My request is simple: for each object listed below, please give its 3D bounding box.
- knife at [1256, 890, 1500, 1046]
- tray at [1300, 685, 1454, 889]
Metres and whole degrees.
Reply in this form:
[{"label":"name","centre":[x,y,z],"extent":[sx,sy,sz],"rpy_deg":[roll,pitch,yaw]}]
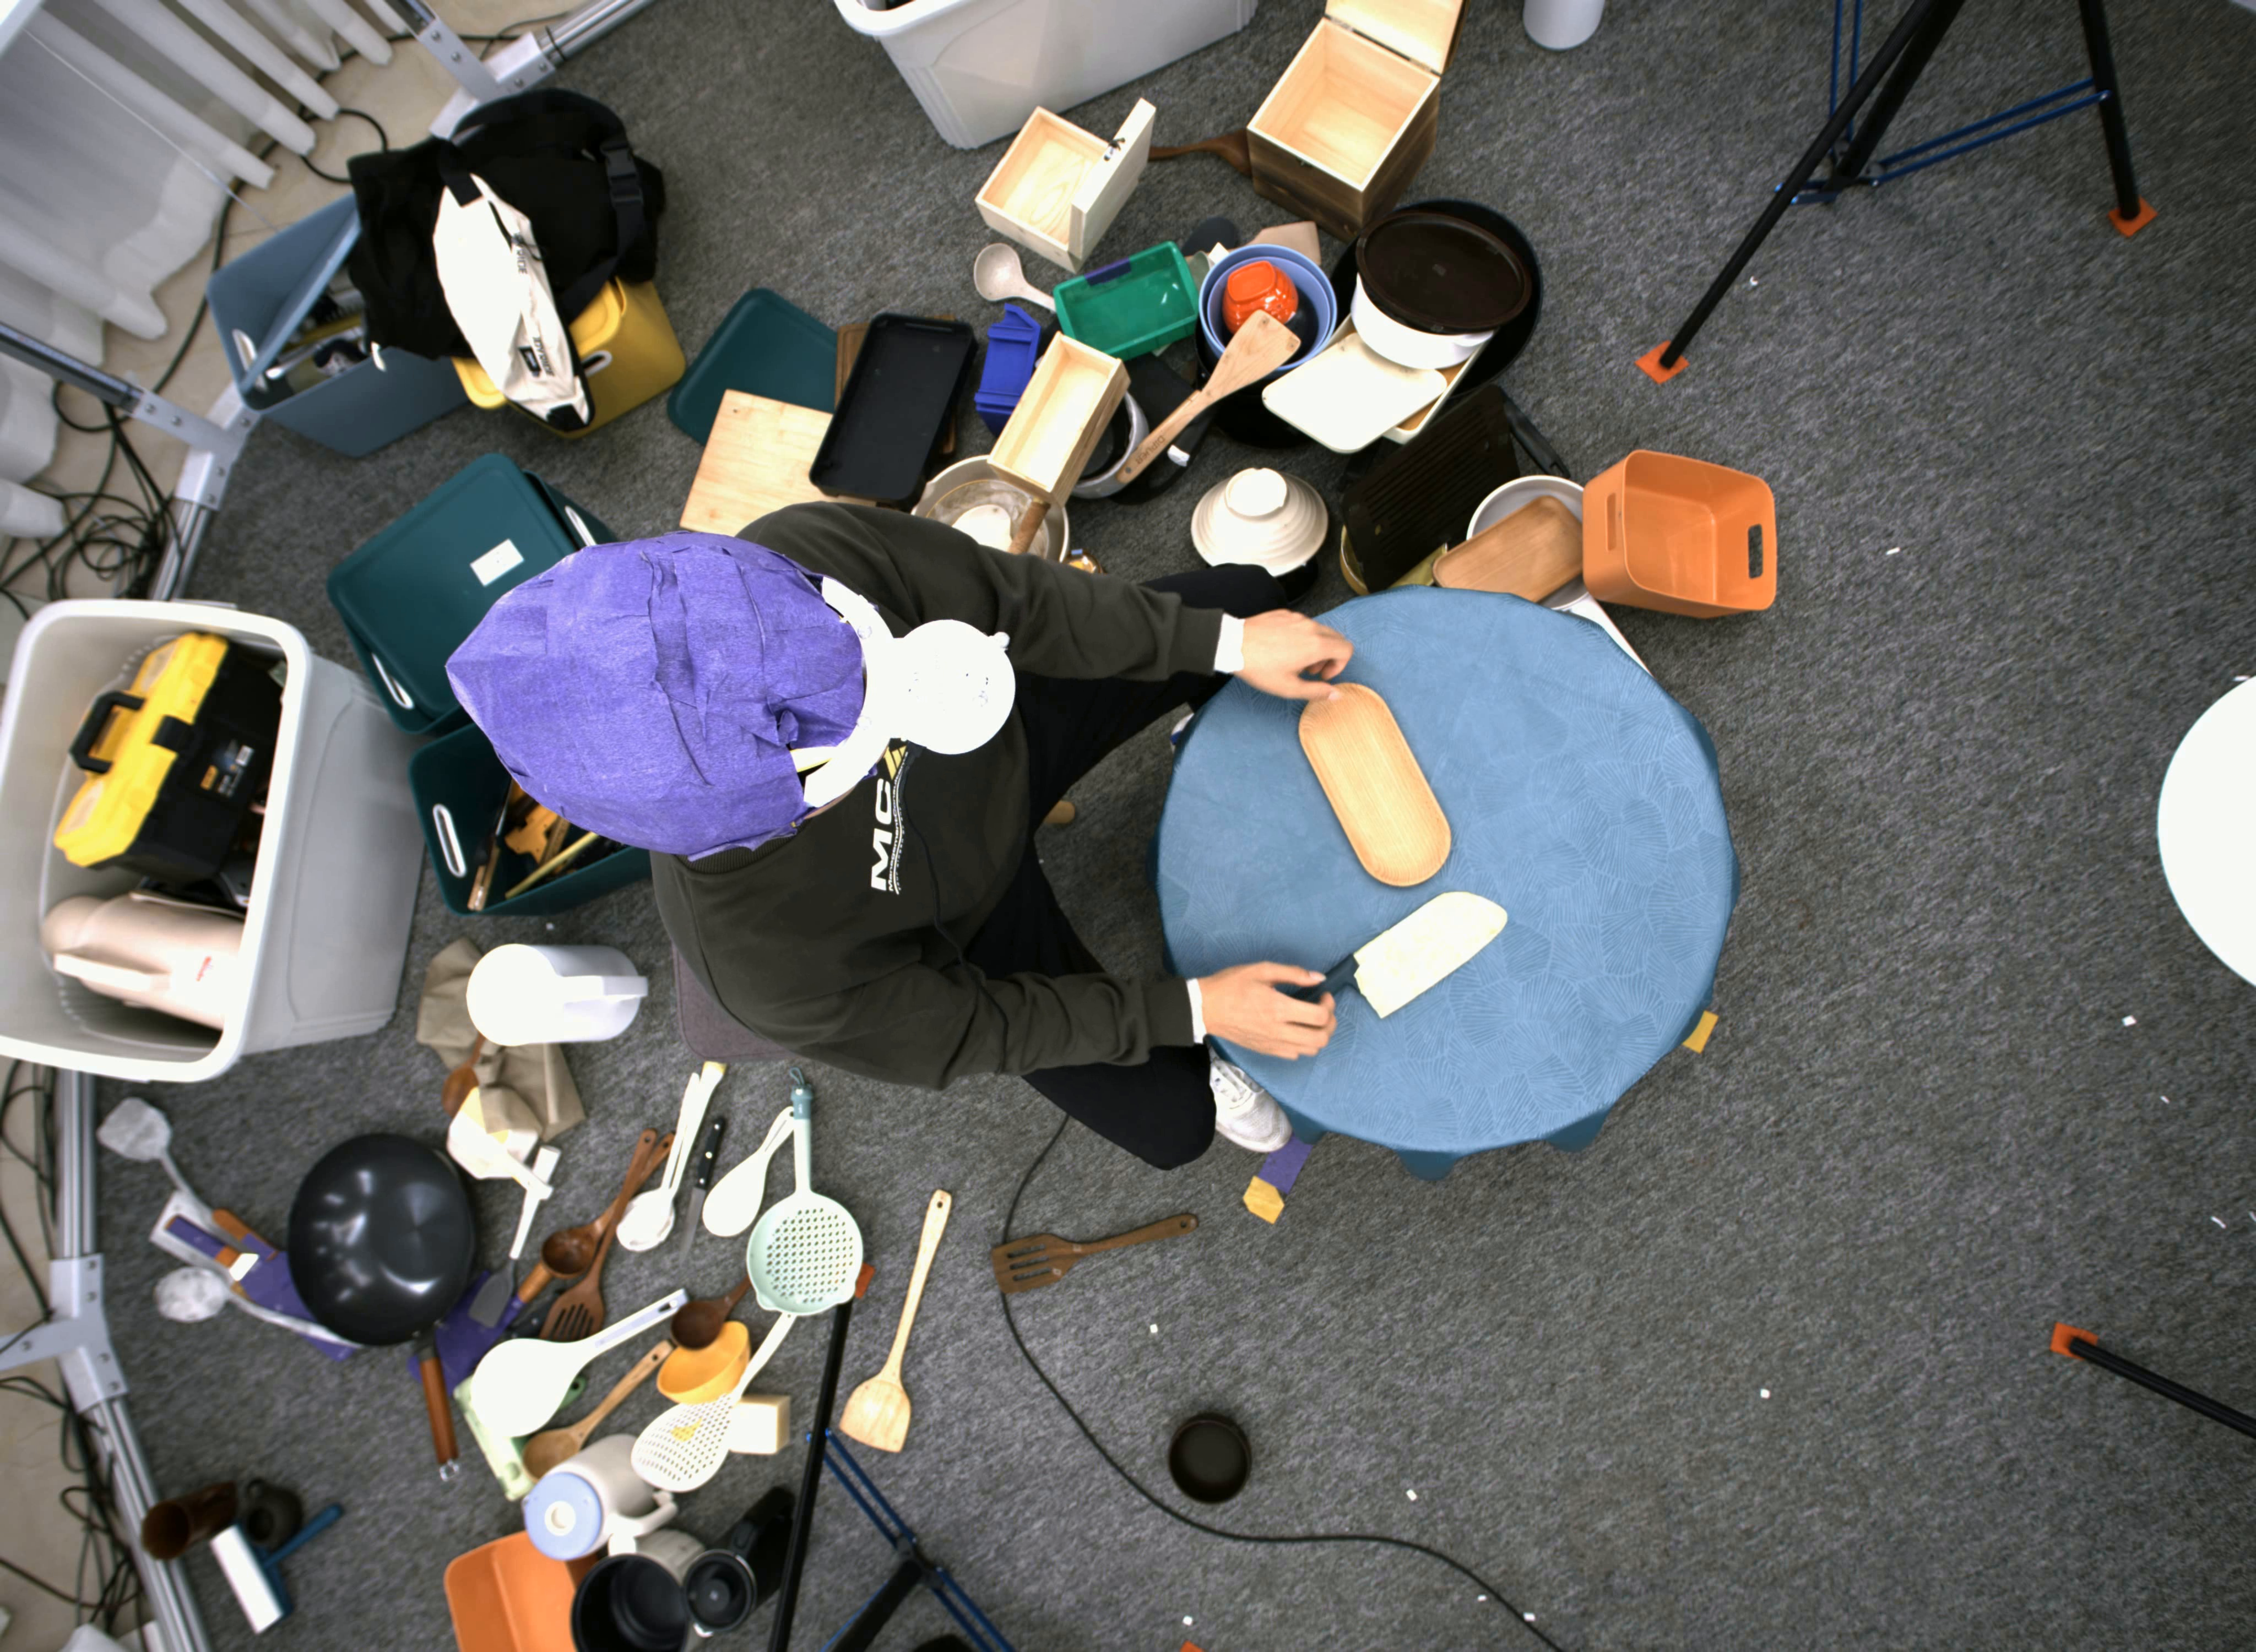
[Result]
[{"label":"knife","centre":[0.264,0.155,1.449],"extent":[0.291,0.027,0.080],"rpy_deg":[-32,80,6]},{"label":"tray","centre":[0.263,-0.044,1.460],"extent":[0.102,0.020,0.230],"rpy_deg":[-27,84,9]}]
